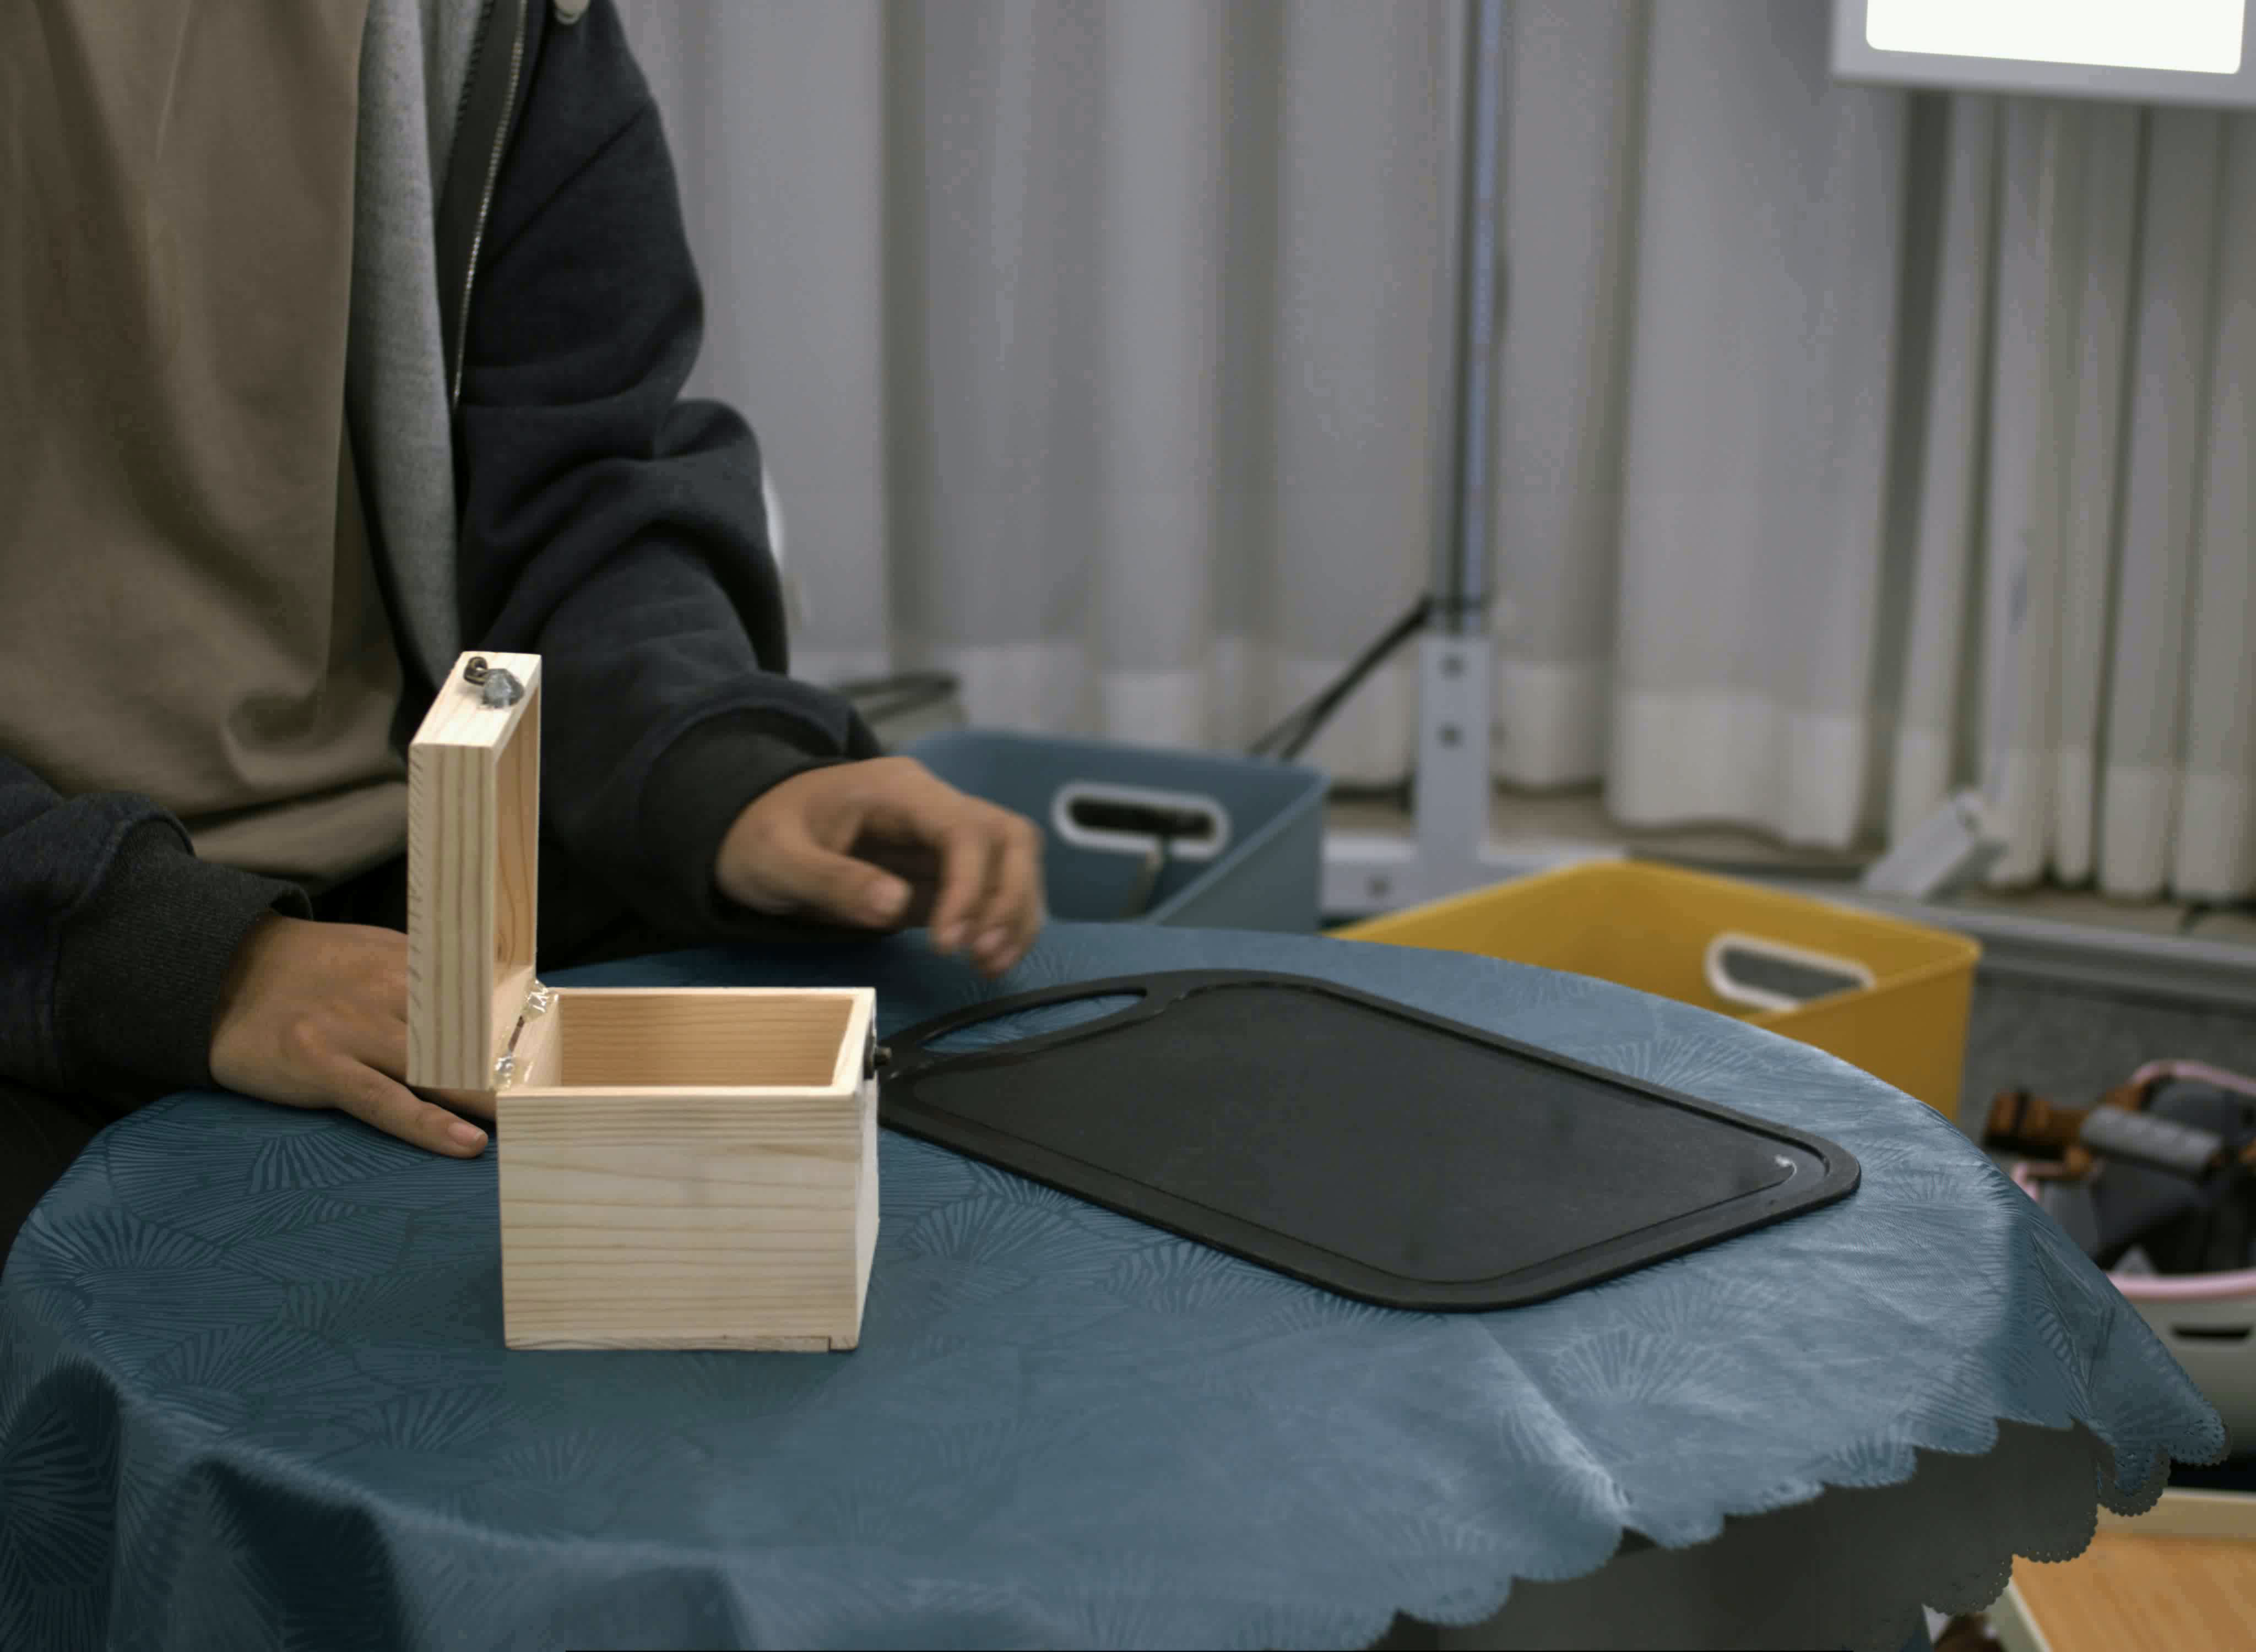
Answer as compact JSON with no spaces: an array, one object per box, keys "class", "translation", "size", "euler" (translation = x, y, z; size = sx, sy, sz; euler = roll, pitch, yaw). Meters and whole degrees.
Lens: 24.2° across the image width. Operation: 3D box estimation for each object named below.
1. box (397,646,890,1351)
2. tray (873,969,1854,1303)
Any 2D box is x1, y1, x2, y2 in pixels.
[{"class":"box","translation":[-0.135,0.047,1.508],"size":[0.133,0.186,0.102],"euler":[-1,17,0]},{"class":"tray","translation":[0.059,0.092,1.685],"size":[0.212,0.010,0.321],"euler":[-13,21,-40]}]
